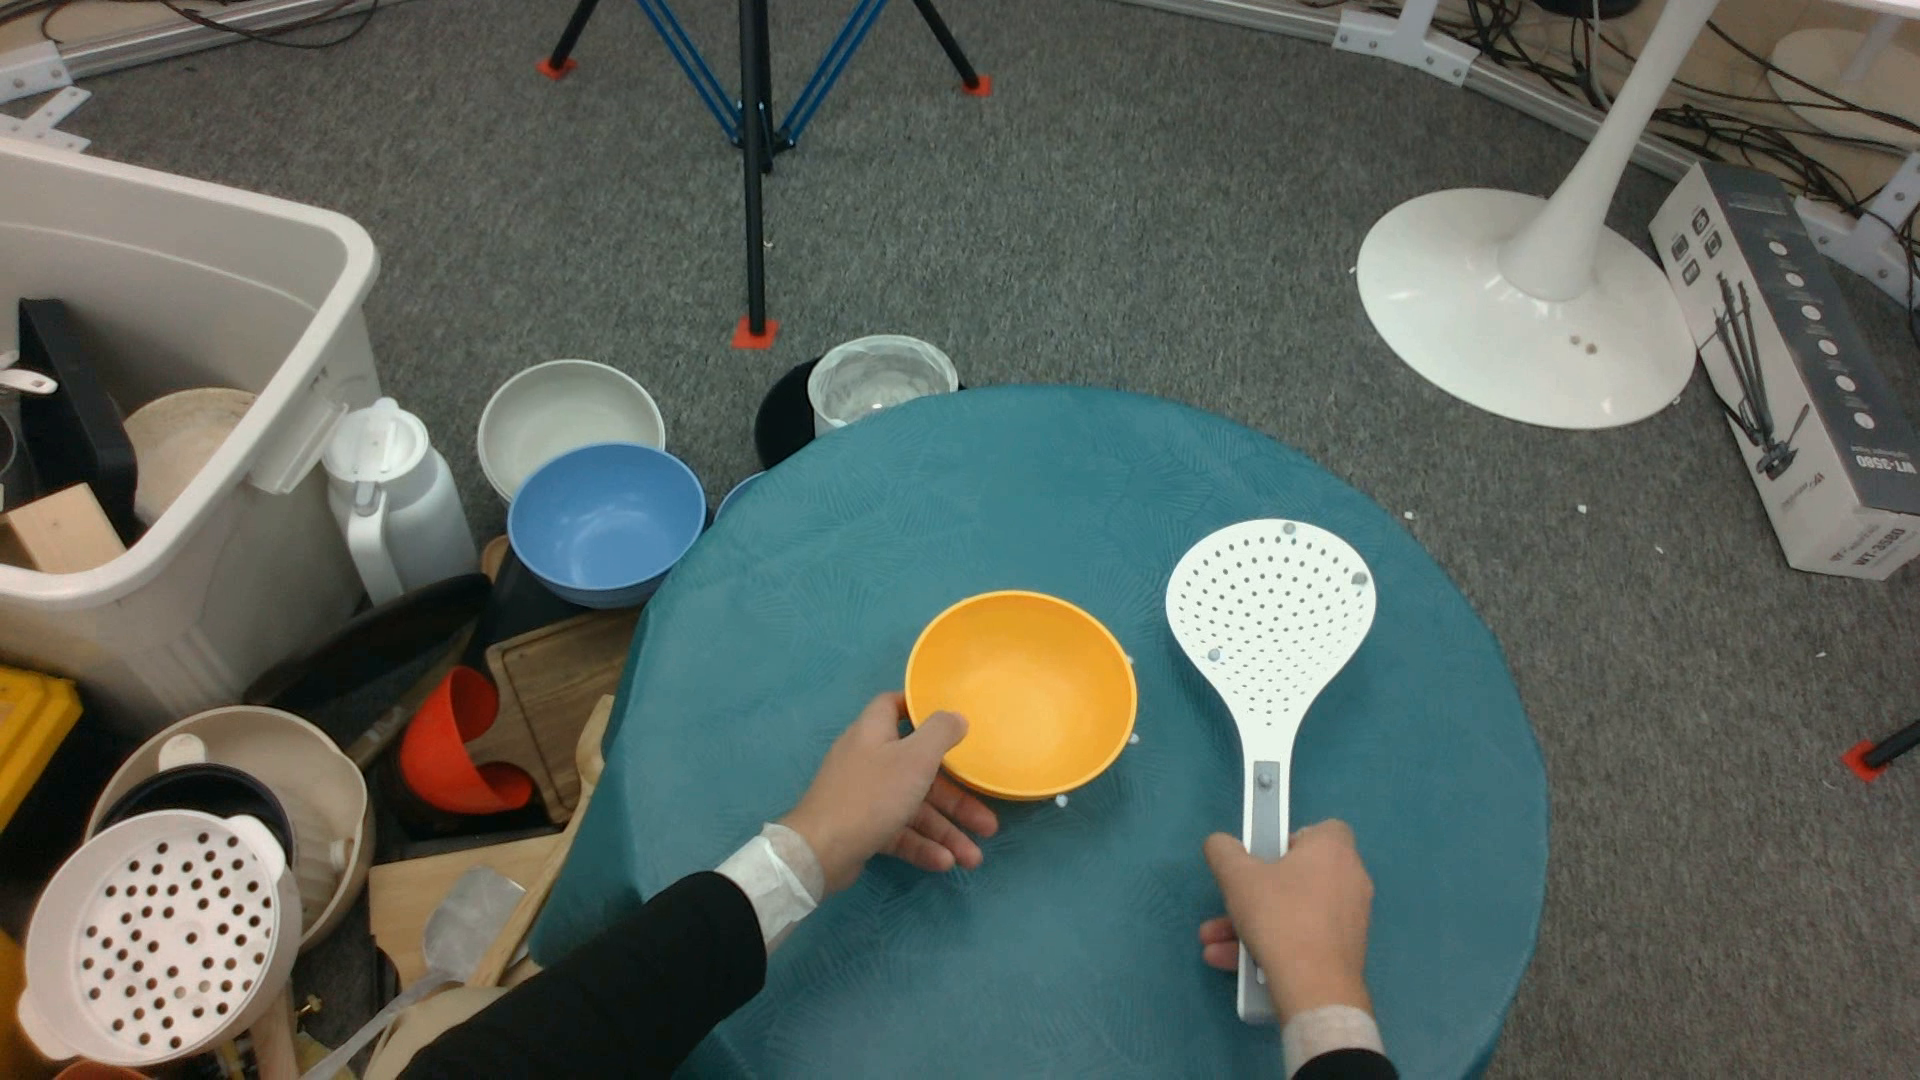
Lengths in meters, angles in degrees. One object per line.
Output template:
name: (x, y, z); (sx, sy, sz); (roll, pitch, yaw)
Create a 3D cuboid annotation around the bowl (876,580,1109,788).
bowl: (0.018, 0.100, 0.865); (0.145, 0.060, 0.146); (4, 52, -4)

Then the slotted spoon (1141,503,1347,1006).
slotted spoon: (0.175, 0.117, 0.859); (0.136, 0.045, 0.351); (-3, 46, 16)
